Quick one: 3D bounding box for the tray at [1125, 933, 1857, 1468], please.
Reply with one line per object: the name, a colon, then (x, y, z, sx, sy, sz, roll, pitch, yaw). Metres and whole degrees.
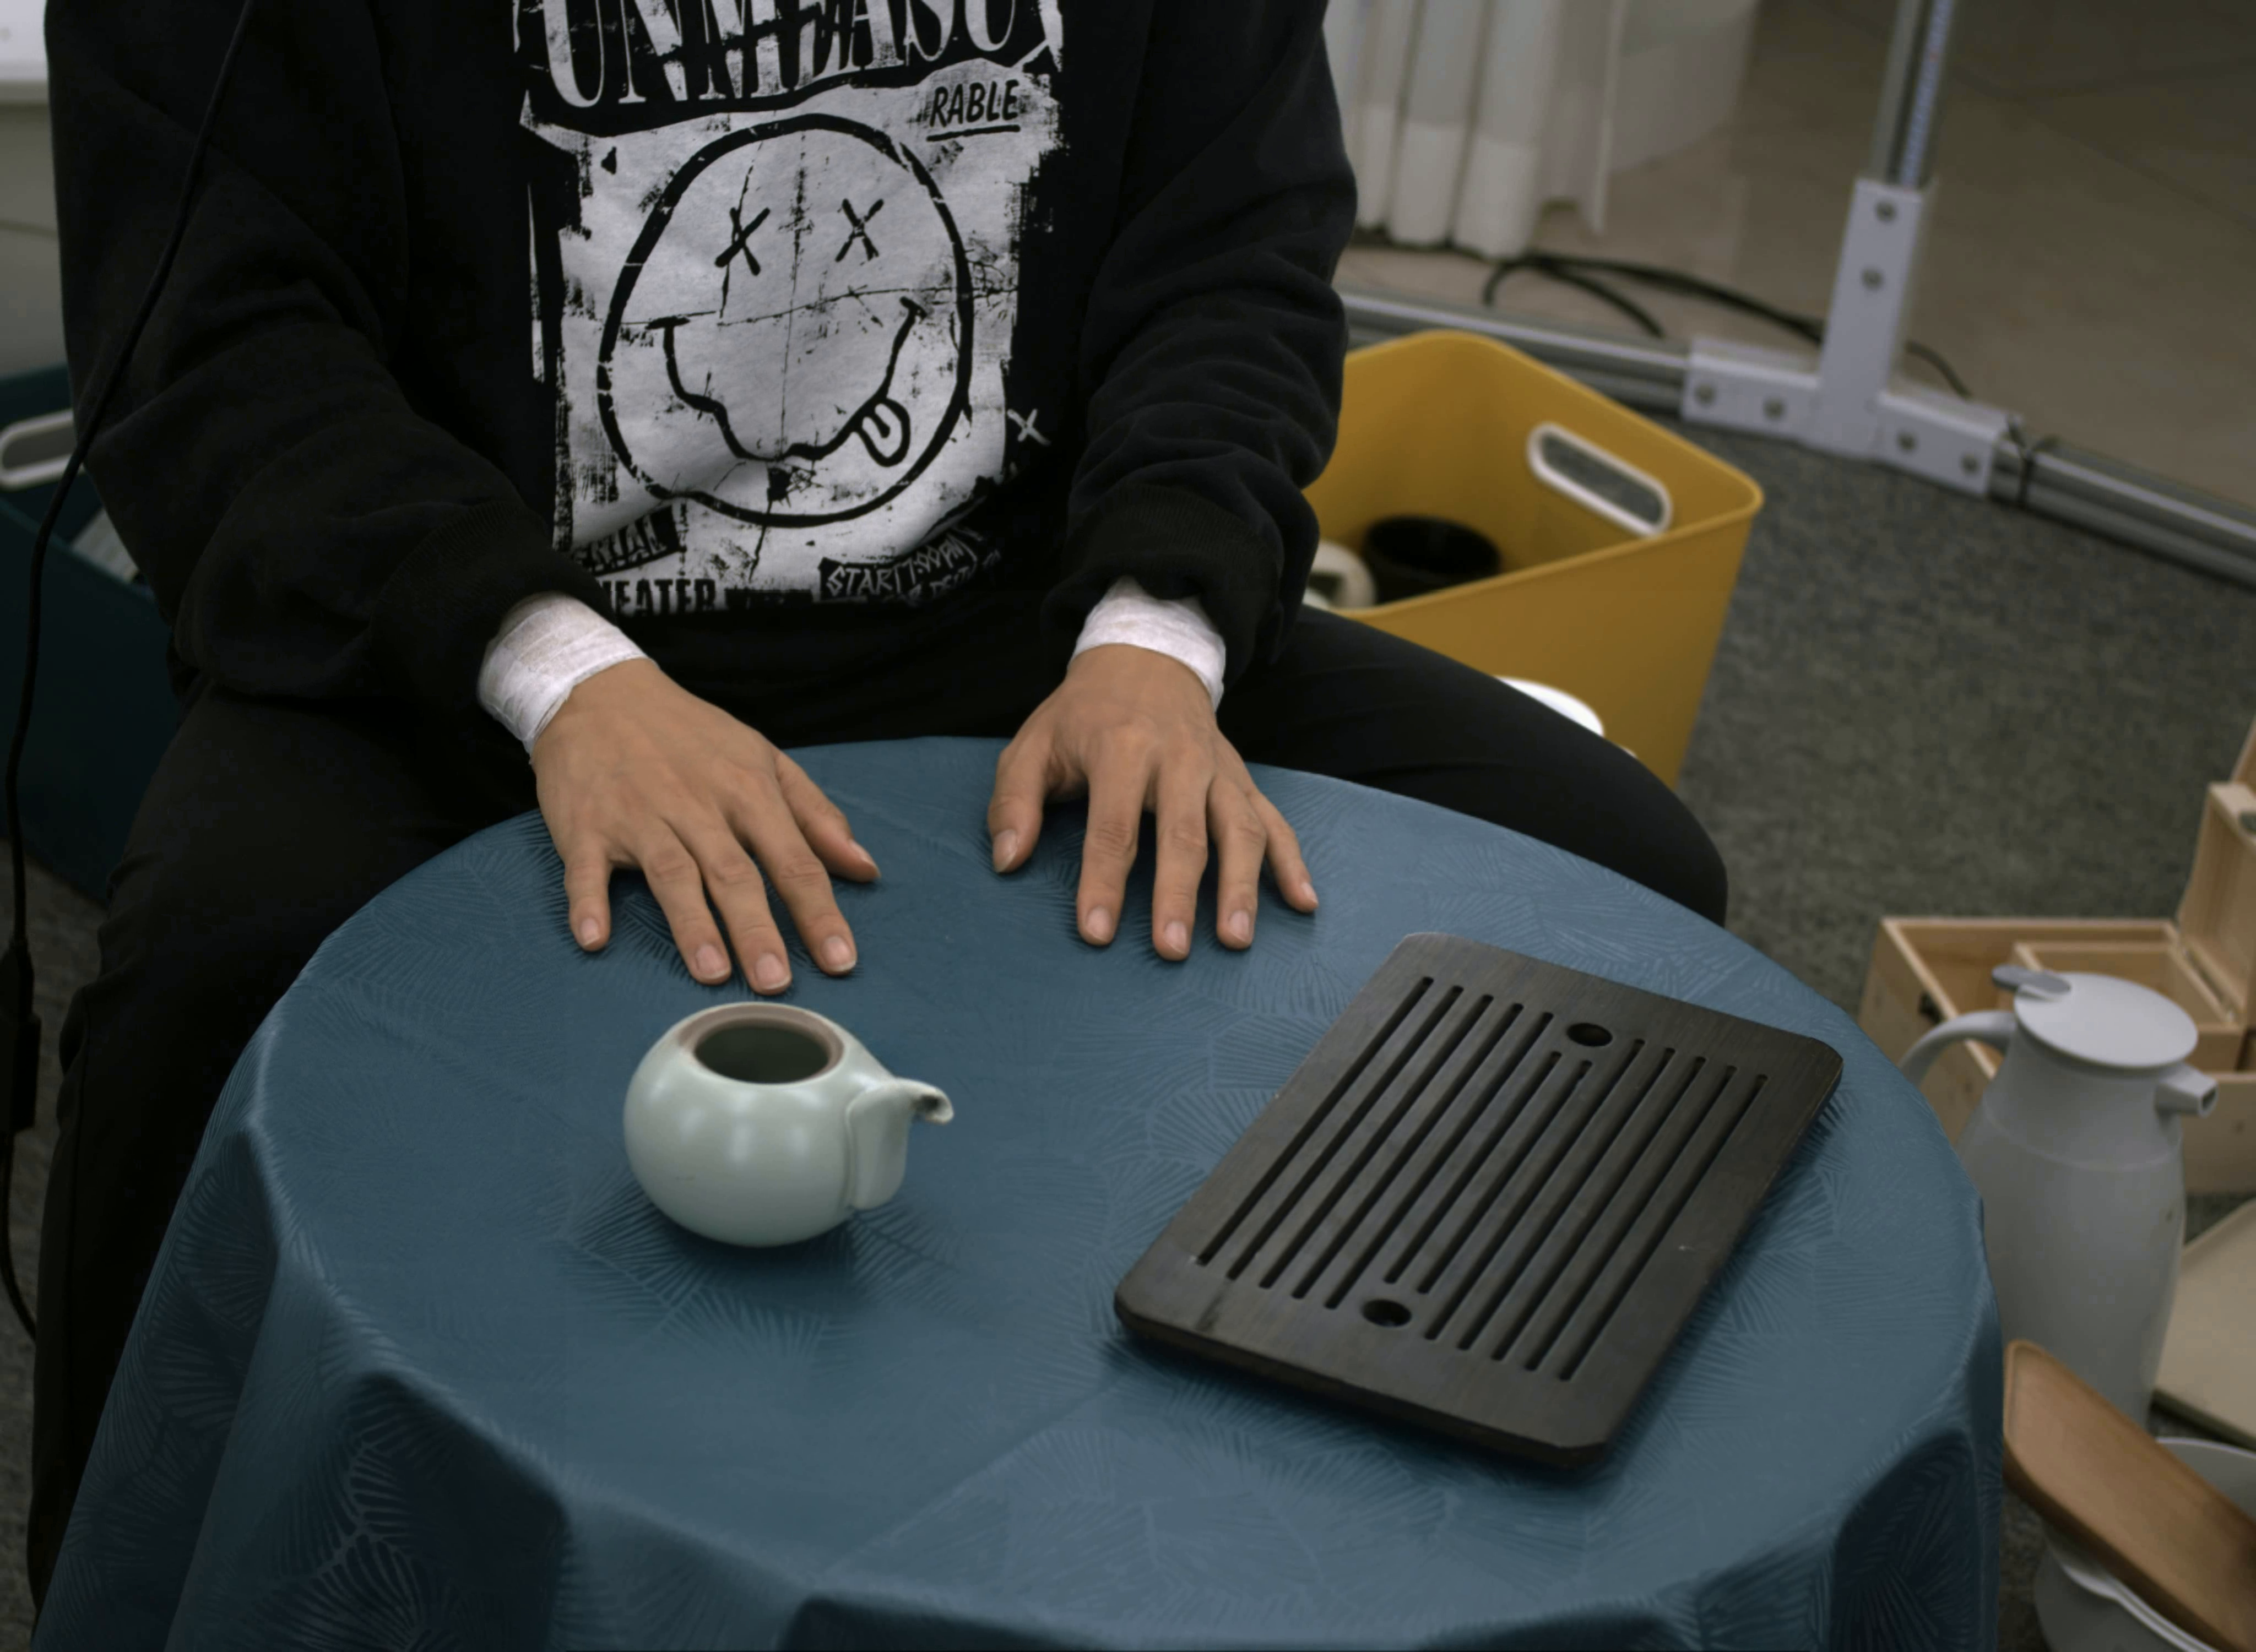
tray: (0.129, 0.124, 1.813, 0.170, 0.018, 0.306, 15, 28, 18)

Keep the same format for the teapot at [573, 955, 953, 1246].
teapot: (-0.122, 0.096, 1.751, 0.144, 0.074, 0.088, 22, 30, 25)
